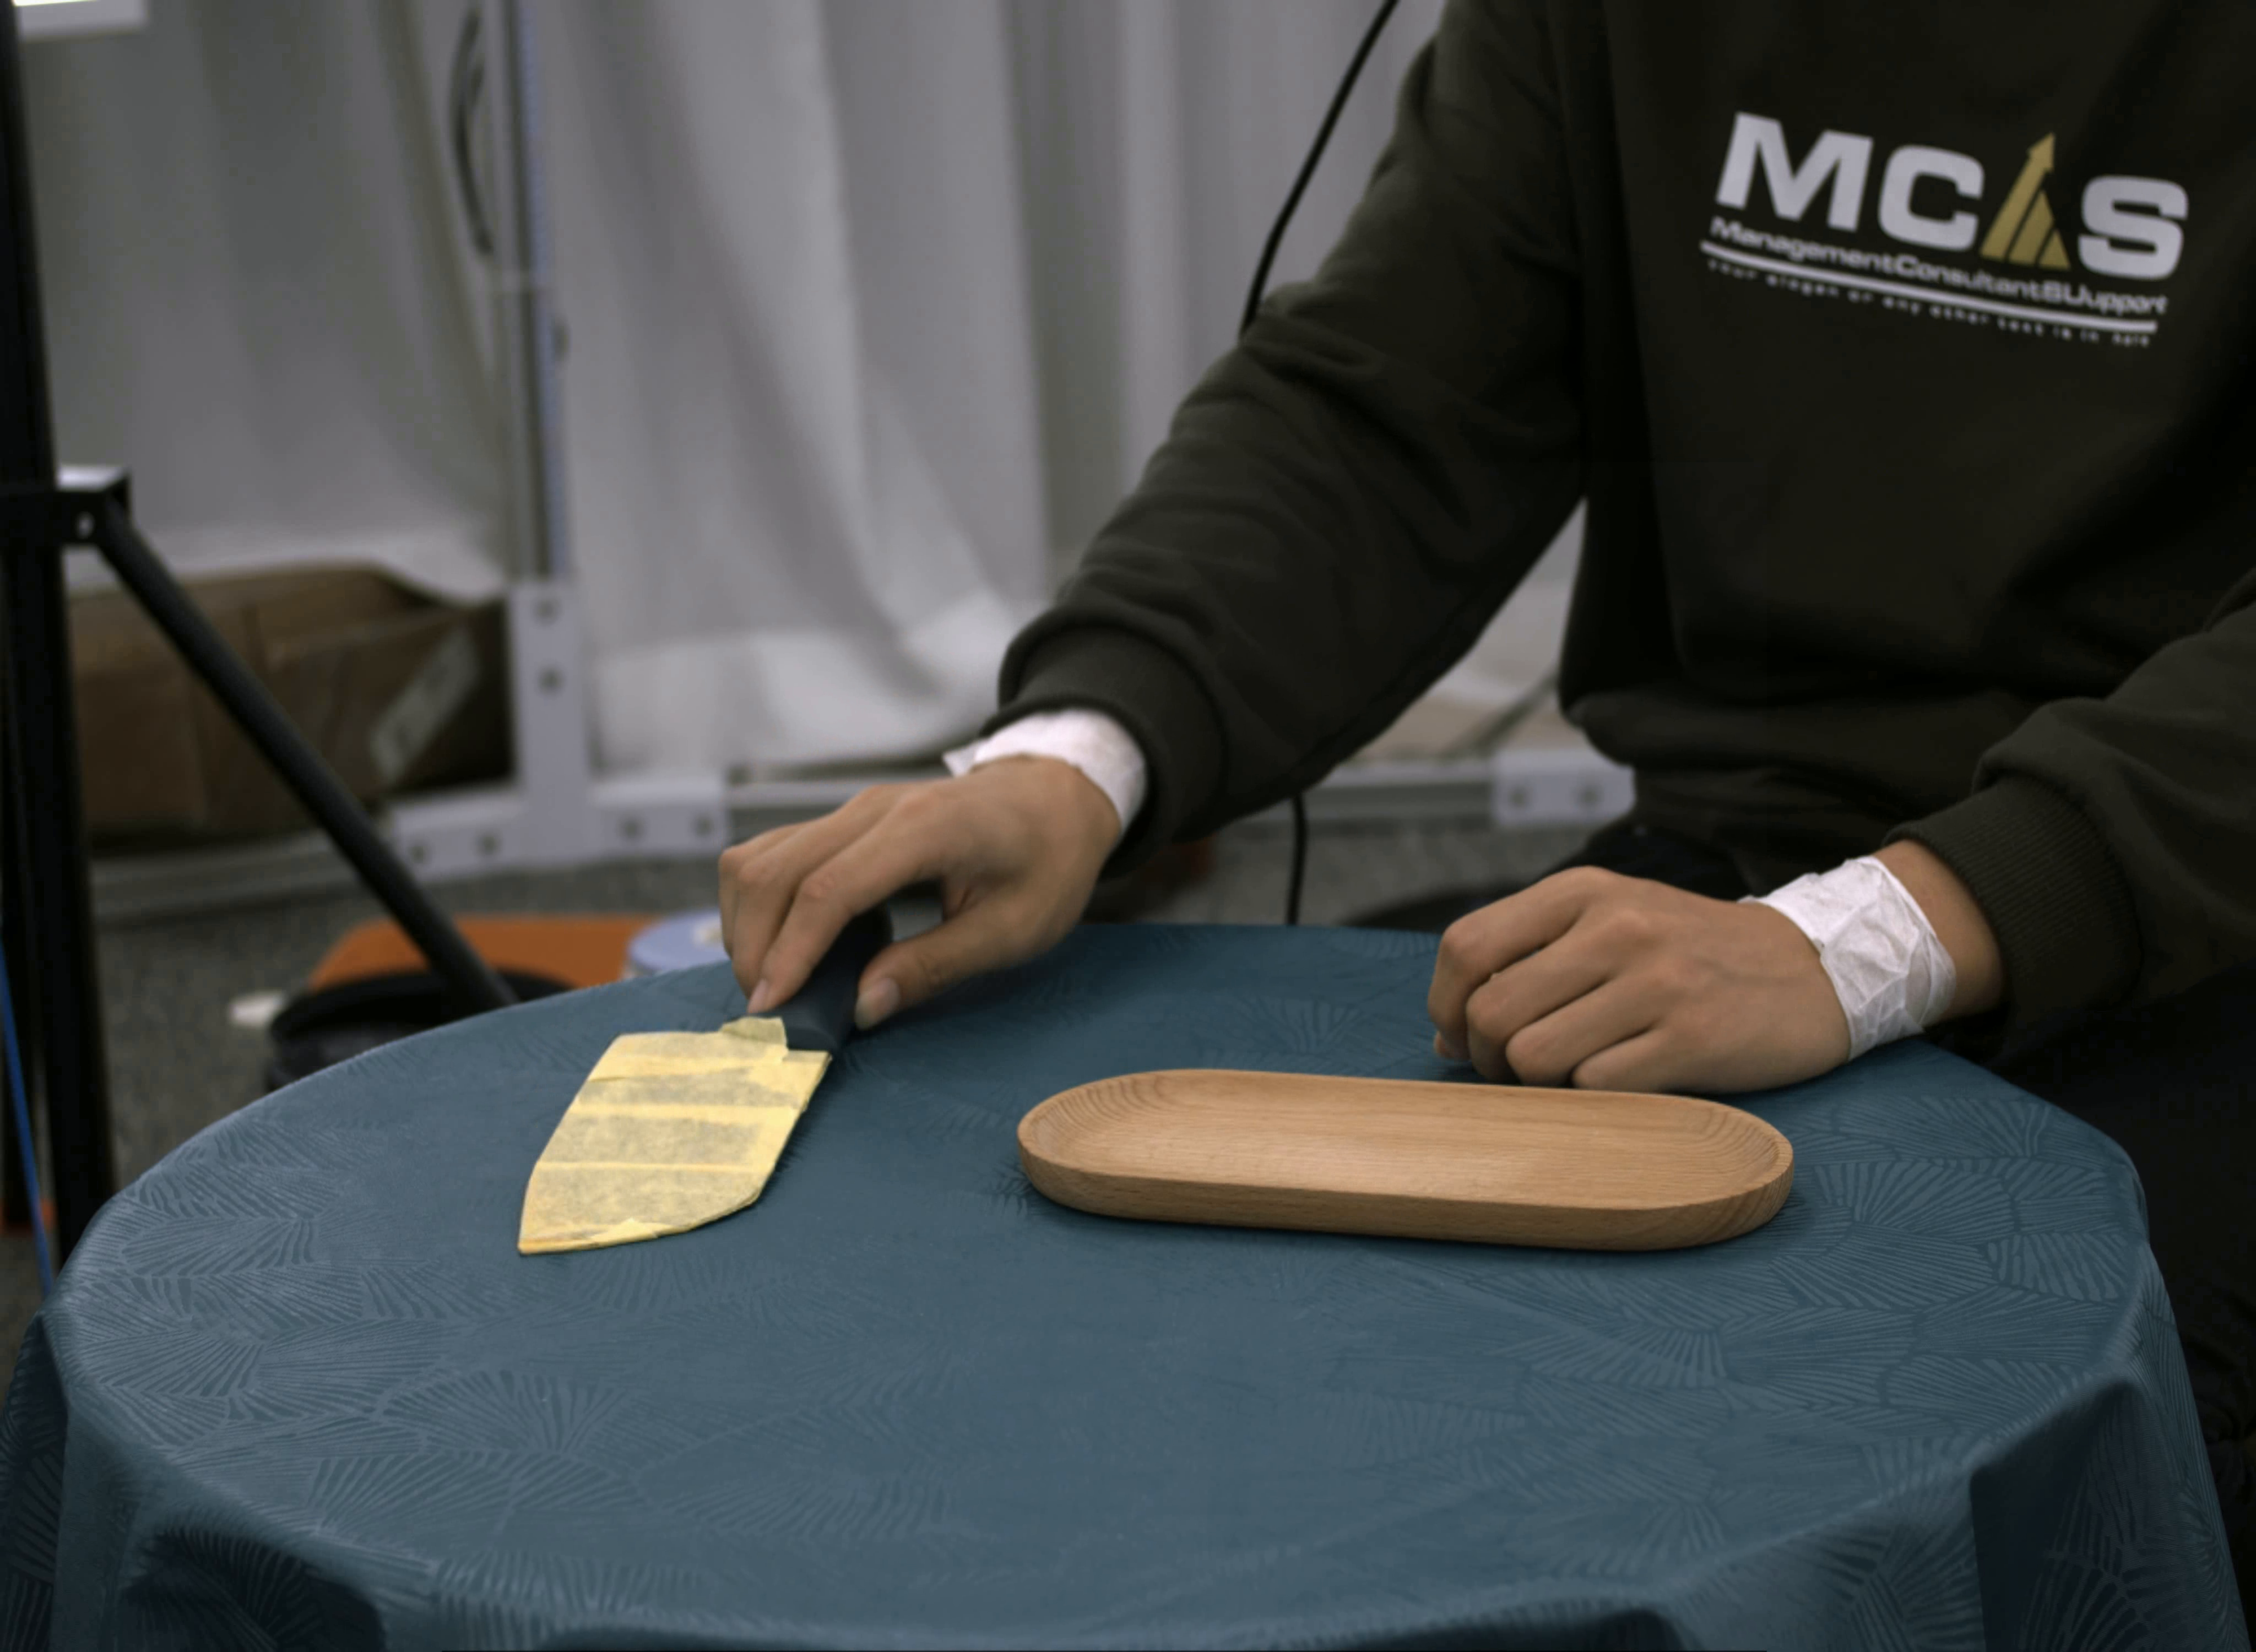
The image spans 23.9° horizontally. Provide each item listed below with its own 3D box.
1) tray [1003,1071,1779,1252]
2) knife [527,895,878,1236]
[{"bbox_3d":[0.076,0.098,1.555,0.233,0.020,0.100,2,15,18],"label":"tray"},{"bbox_3d":[-0.129,0.074,1.667,0.081,0.027,0.288,5,19,10],"label":"knife"}]
